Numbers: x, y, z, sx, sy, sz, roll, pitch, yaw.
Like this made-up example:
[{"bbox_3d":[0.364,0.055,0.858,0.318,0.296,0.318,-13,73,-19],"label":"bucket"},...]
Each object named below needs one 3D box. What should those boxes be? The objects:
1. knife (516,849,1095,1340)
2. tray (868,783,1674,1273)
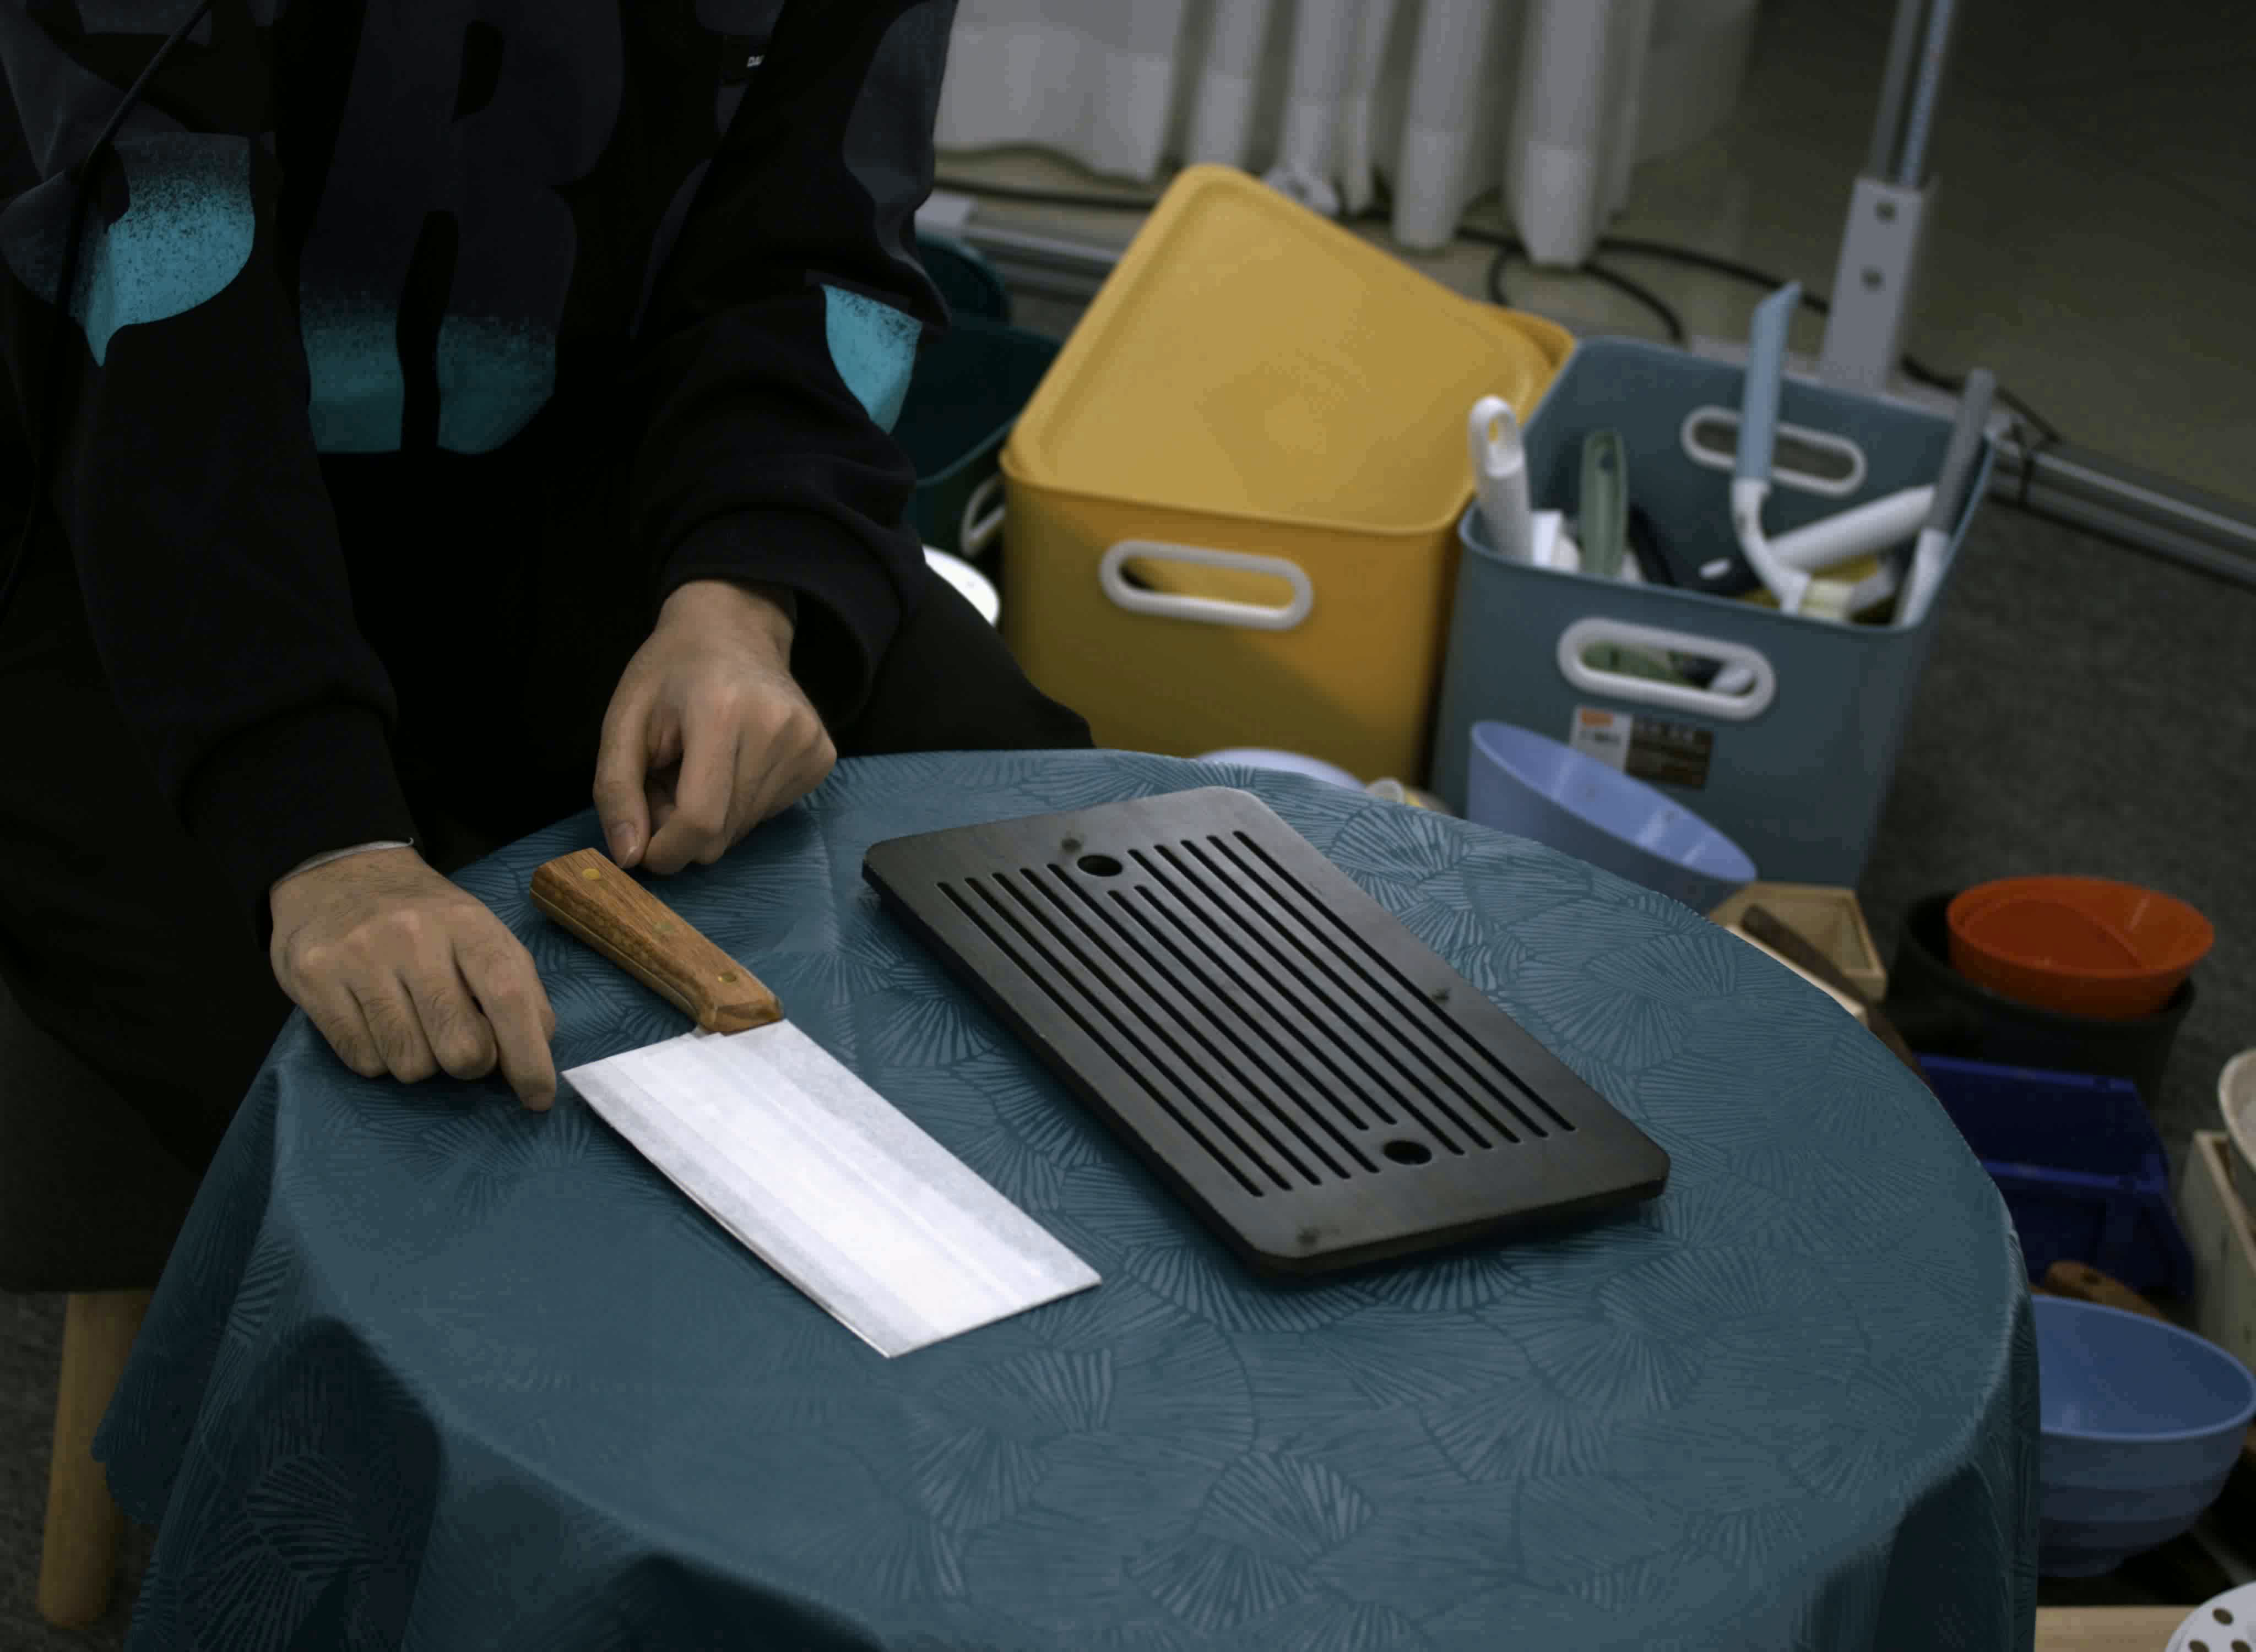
[{"bbox_3d":[-0.135,0.091,1.820,0.092,0.021,0.308,-17,37,-35],"label":"knife"},{"bbox_3d":[0.045,0.069,1.900,0.169,0.018,0.309,-9,31,-28],"label":"tray"}]
